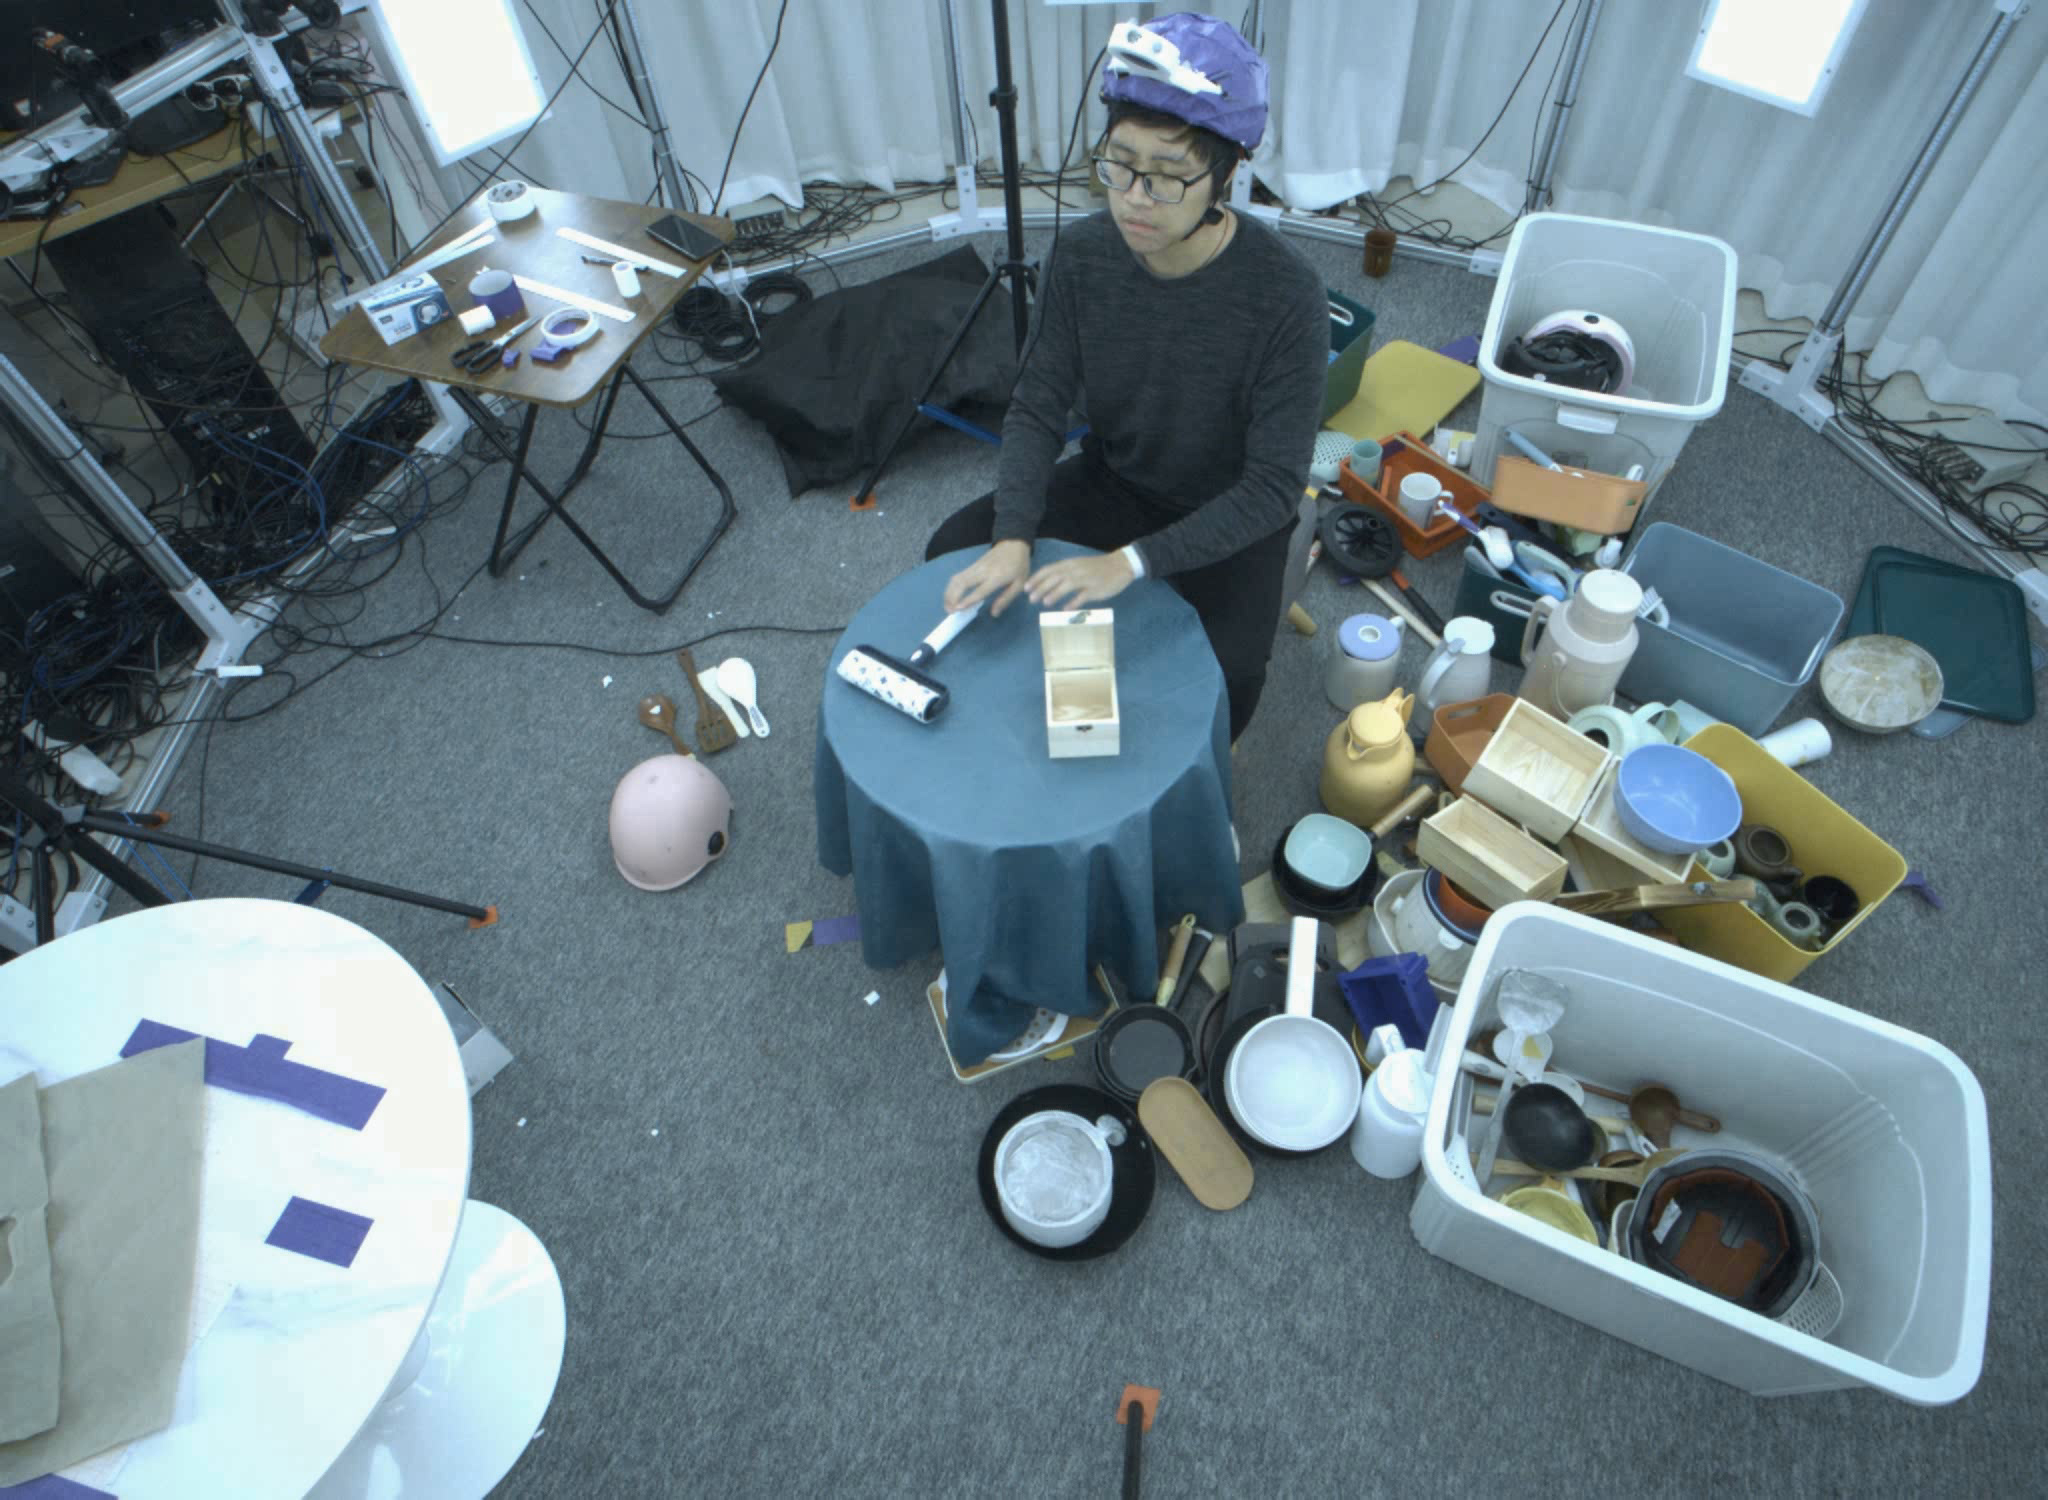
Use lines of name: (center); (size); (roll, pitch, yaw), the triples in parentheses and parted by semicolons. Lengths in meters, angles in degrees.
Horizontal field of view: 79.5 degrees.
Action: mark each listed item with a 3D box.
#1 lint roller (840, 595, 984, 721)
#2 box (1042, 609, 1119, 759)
lint roller: (-0.143, -0.164, 1.882); (0.173, 0.051, 0.248); (28, 60, 21)
box: (0.081, -0.091, 1.737); (0.102, 0.186, 0.132); (-3, 54, 1)
